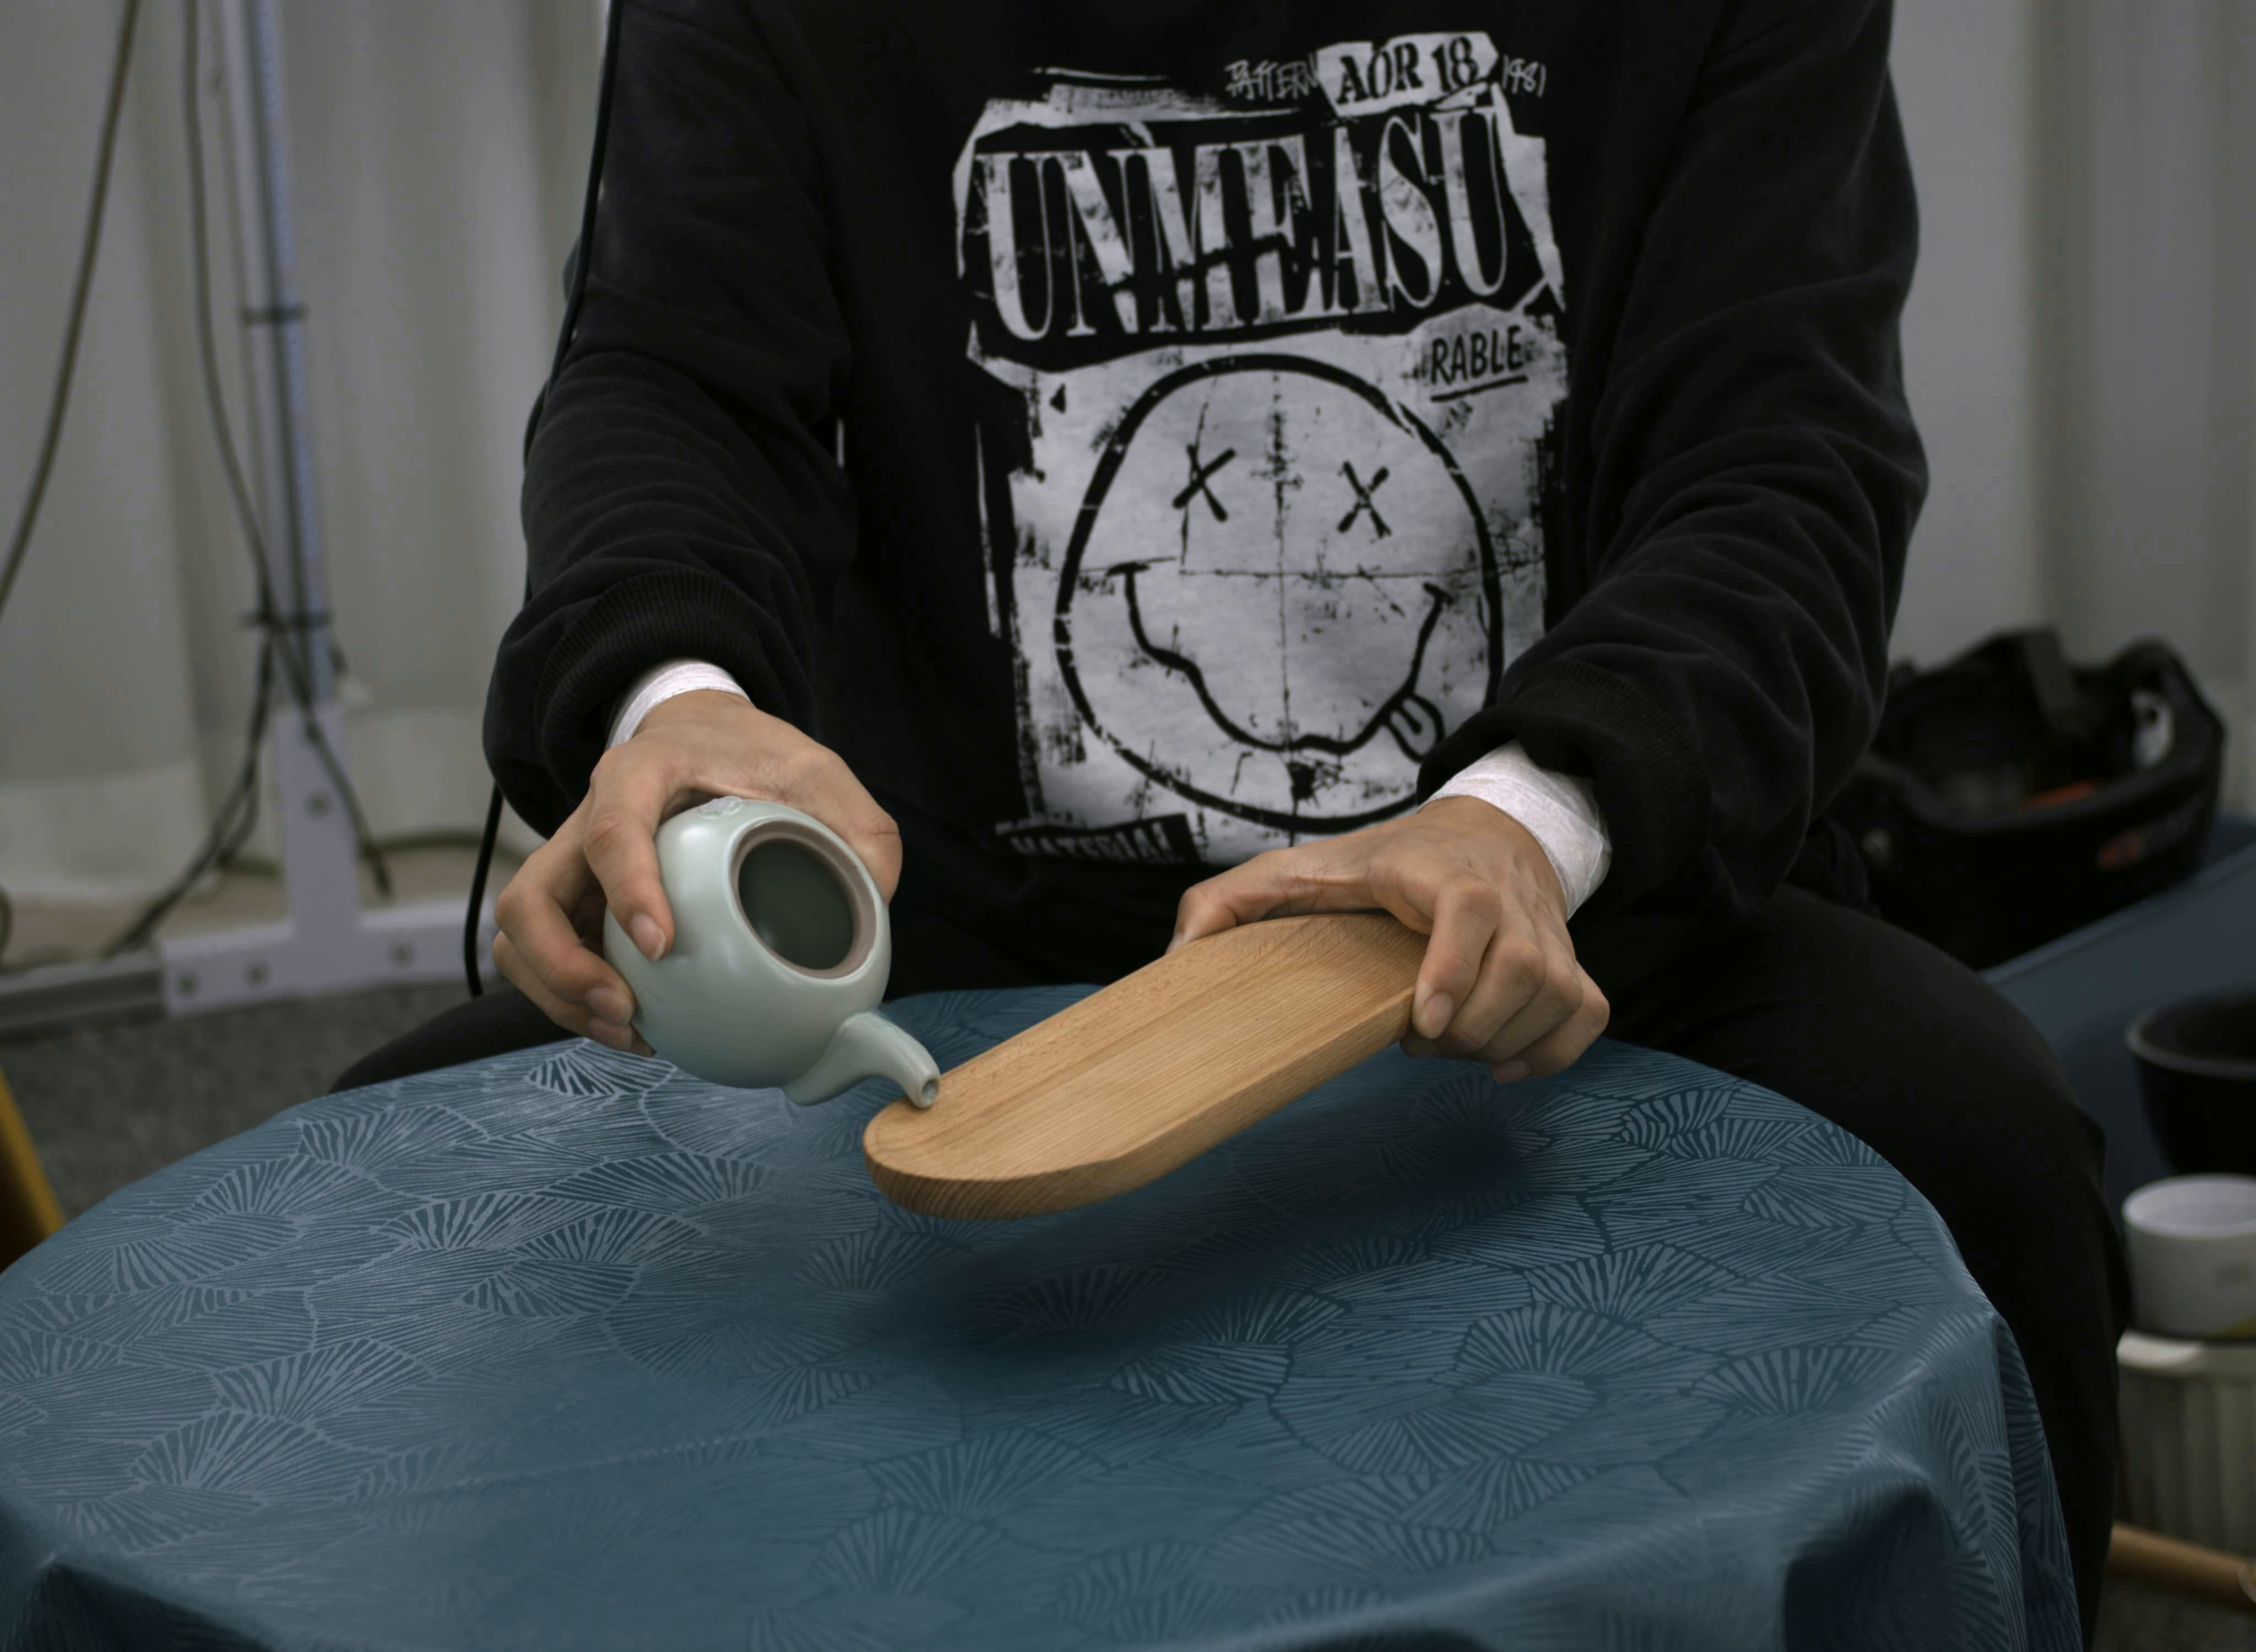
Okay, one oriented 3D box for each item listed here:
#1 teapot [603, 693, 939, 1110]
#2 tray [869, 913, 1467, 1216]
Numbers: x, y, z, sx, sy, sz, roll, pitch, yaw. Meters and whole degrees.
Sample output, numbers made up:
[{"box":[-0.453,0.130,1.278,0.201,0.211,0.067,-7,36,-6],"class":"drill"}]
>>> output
[{"box":[-0.114,0.034,1.644,0.074,0.144,0.088,-34,-7,39],"class":"teapot"},{"box":[0.015,0.070,1.645,0.102,0.020,0.231,8,21,38],"class":"tray"}]
